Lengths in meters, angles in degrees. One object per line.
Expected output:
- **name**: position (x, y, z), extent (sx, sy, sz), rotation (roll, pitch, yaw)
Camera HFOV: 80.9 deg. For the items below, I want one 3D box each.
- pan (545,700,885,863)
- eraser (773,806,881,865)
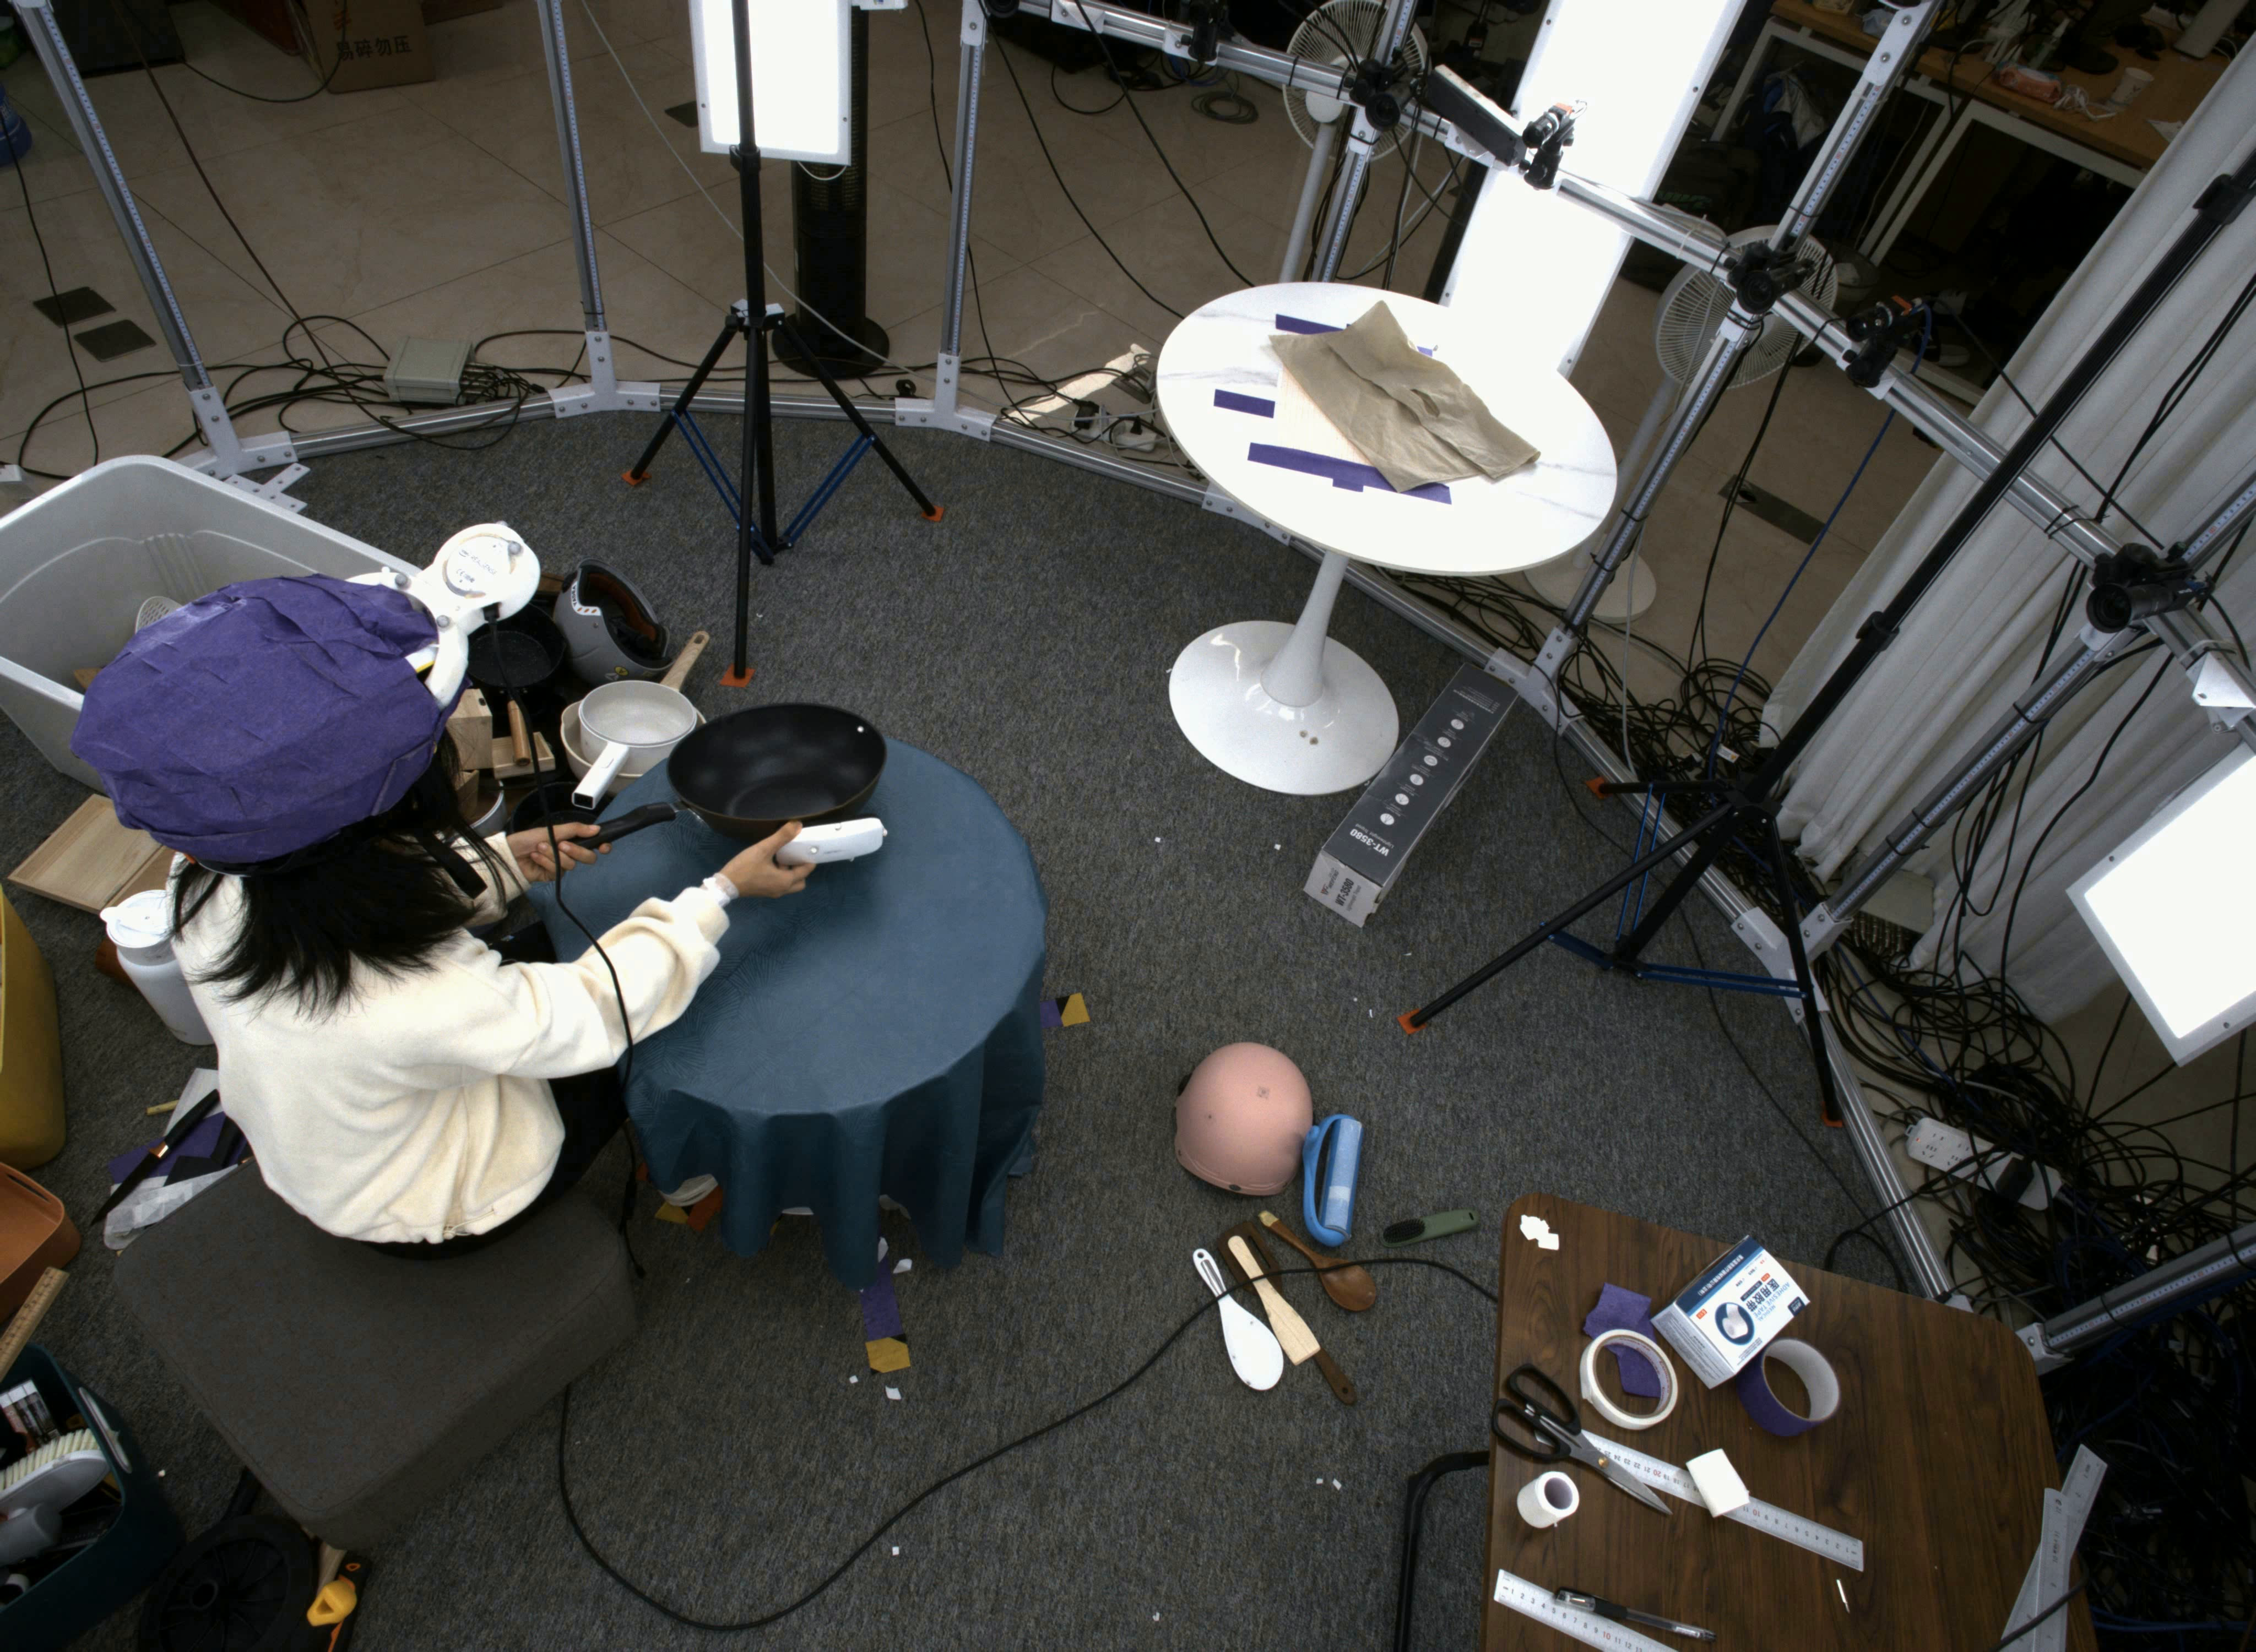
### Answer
- **pan**: position (-0.517, -0.025, 1.622), extent (0.466, 0.090, 0.277), rotation (-29, 46, -35)
- **eraser**: position (-0.369, 0.011, 1.588), extent (0.132, 0.064, 0.034), rotation (-11, 59, -20)
